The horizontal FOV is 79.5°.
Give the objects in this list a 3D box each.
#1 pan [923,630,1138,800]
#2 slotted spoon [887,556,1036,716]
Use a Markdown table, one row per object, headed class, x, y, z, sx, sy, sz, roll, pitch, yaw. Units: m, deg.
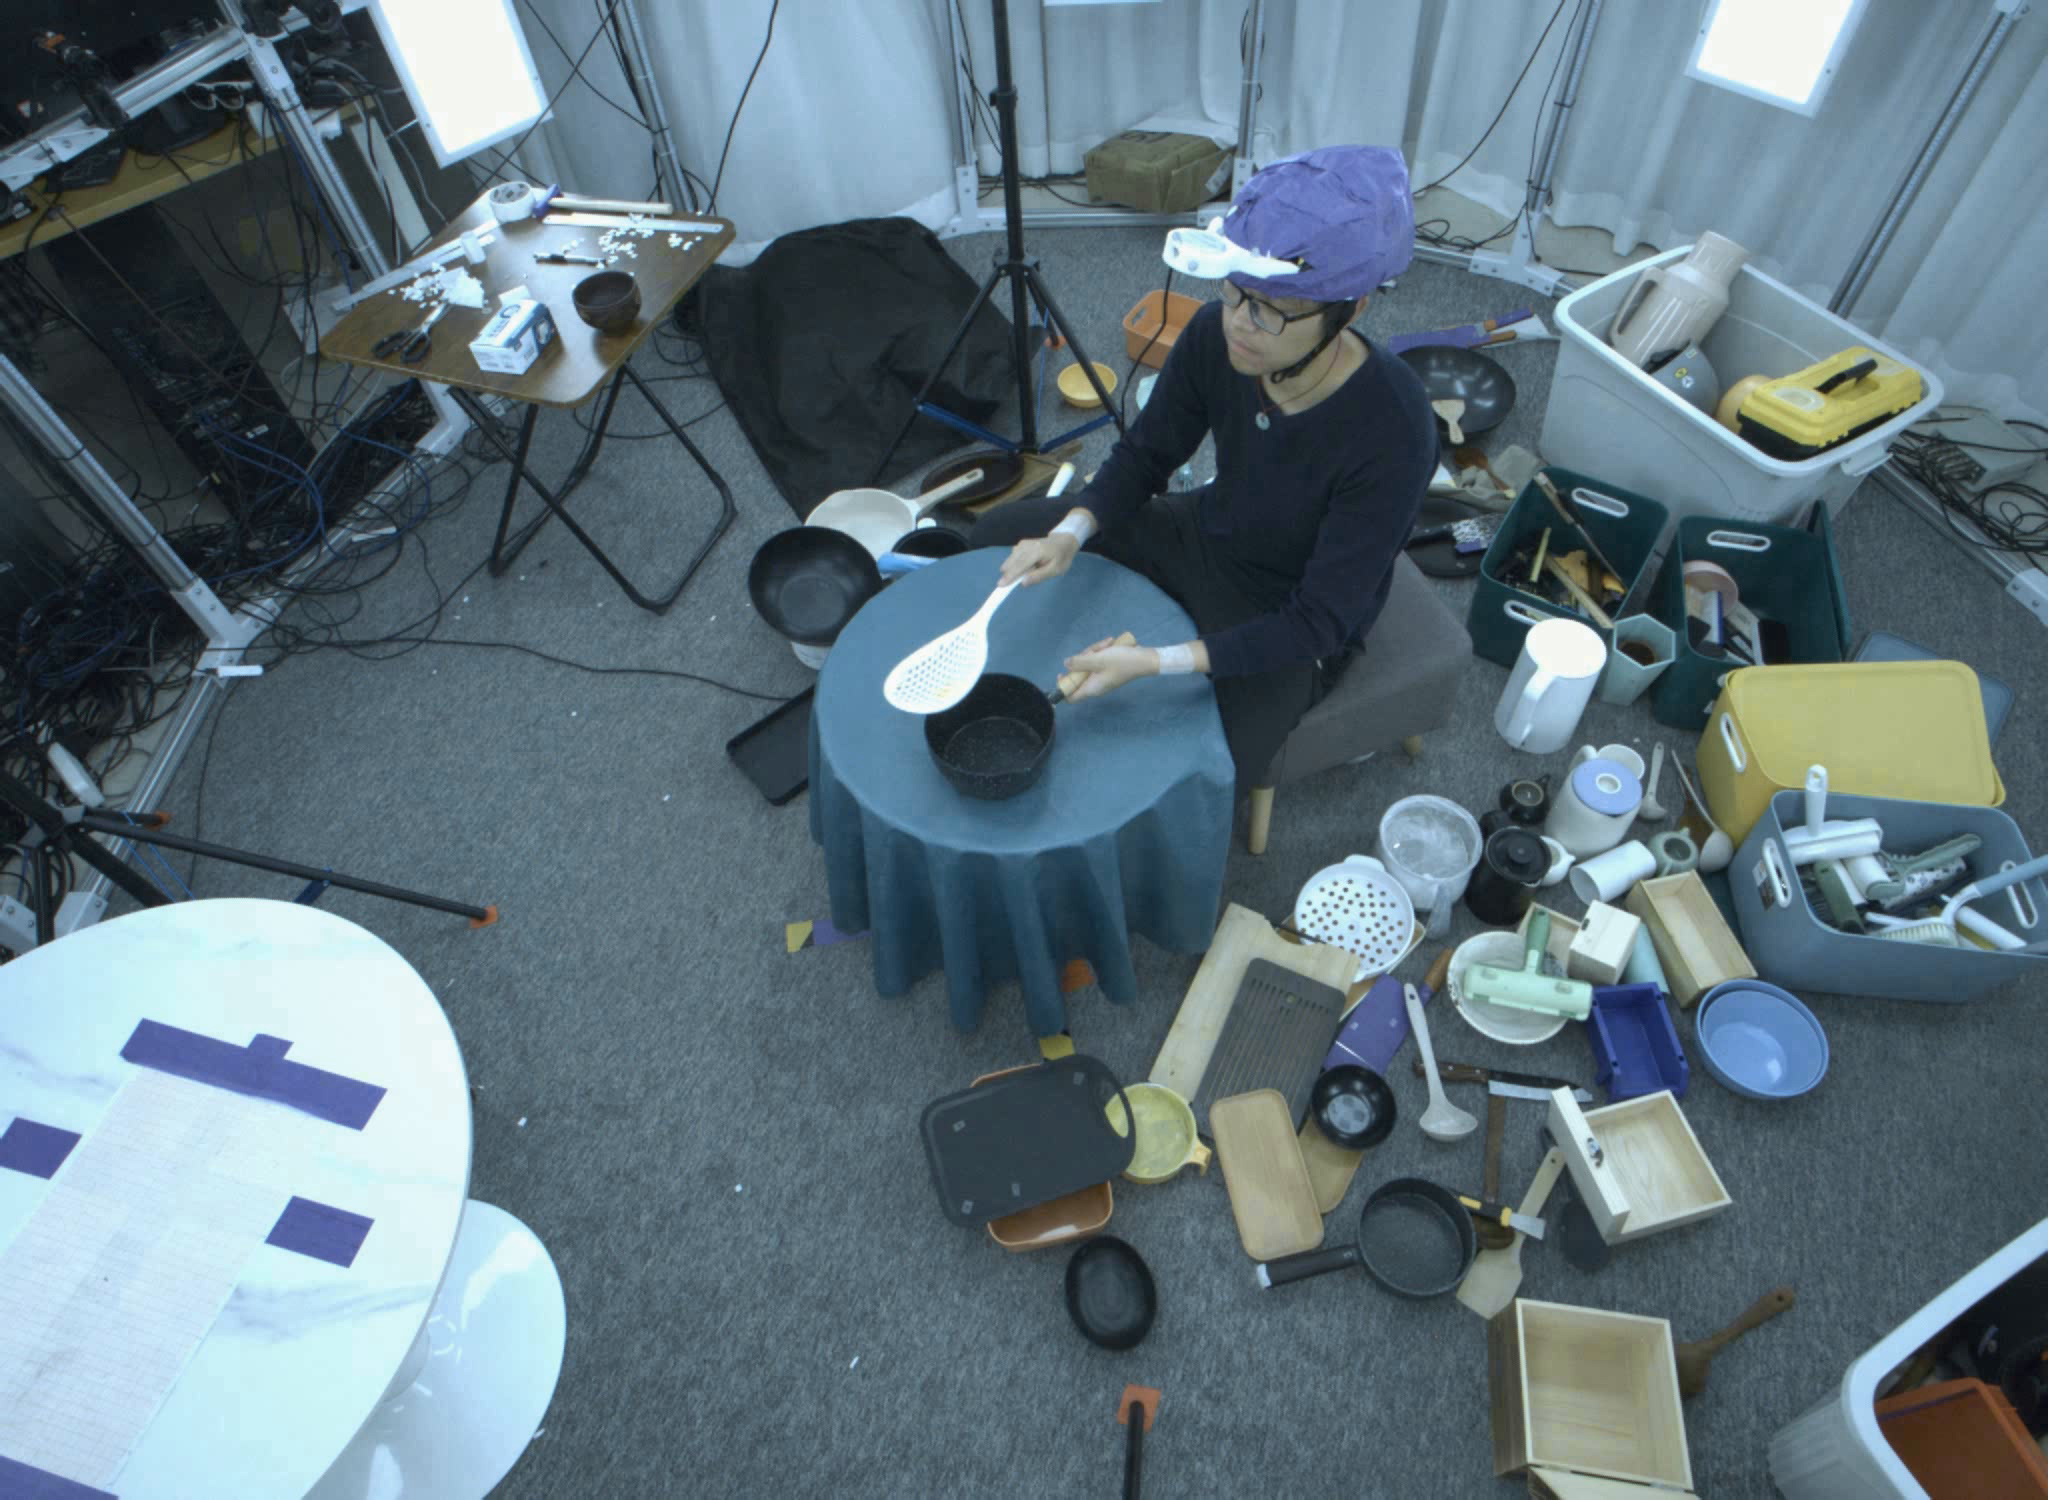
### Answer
| class | x | y | z | sx | sy | sz | roll | pitch | yaw |
| --- | --- | --- | --- | --- | --- | --- | --- | --- | --- |
| pan | 0.019 | -0.060 | 1.760 | 0.345 | 0.109 | 0.203 | -31 | 56 | -17 |
| slotted spoon | -0.065 | -0.169 | 1.728 | 0.134 | 0.051 | 0.348 | 12 | 57 | 30 |
